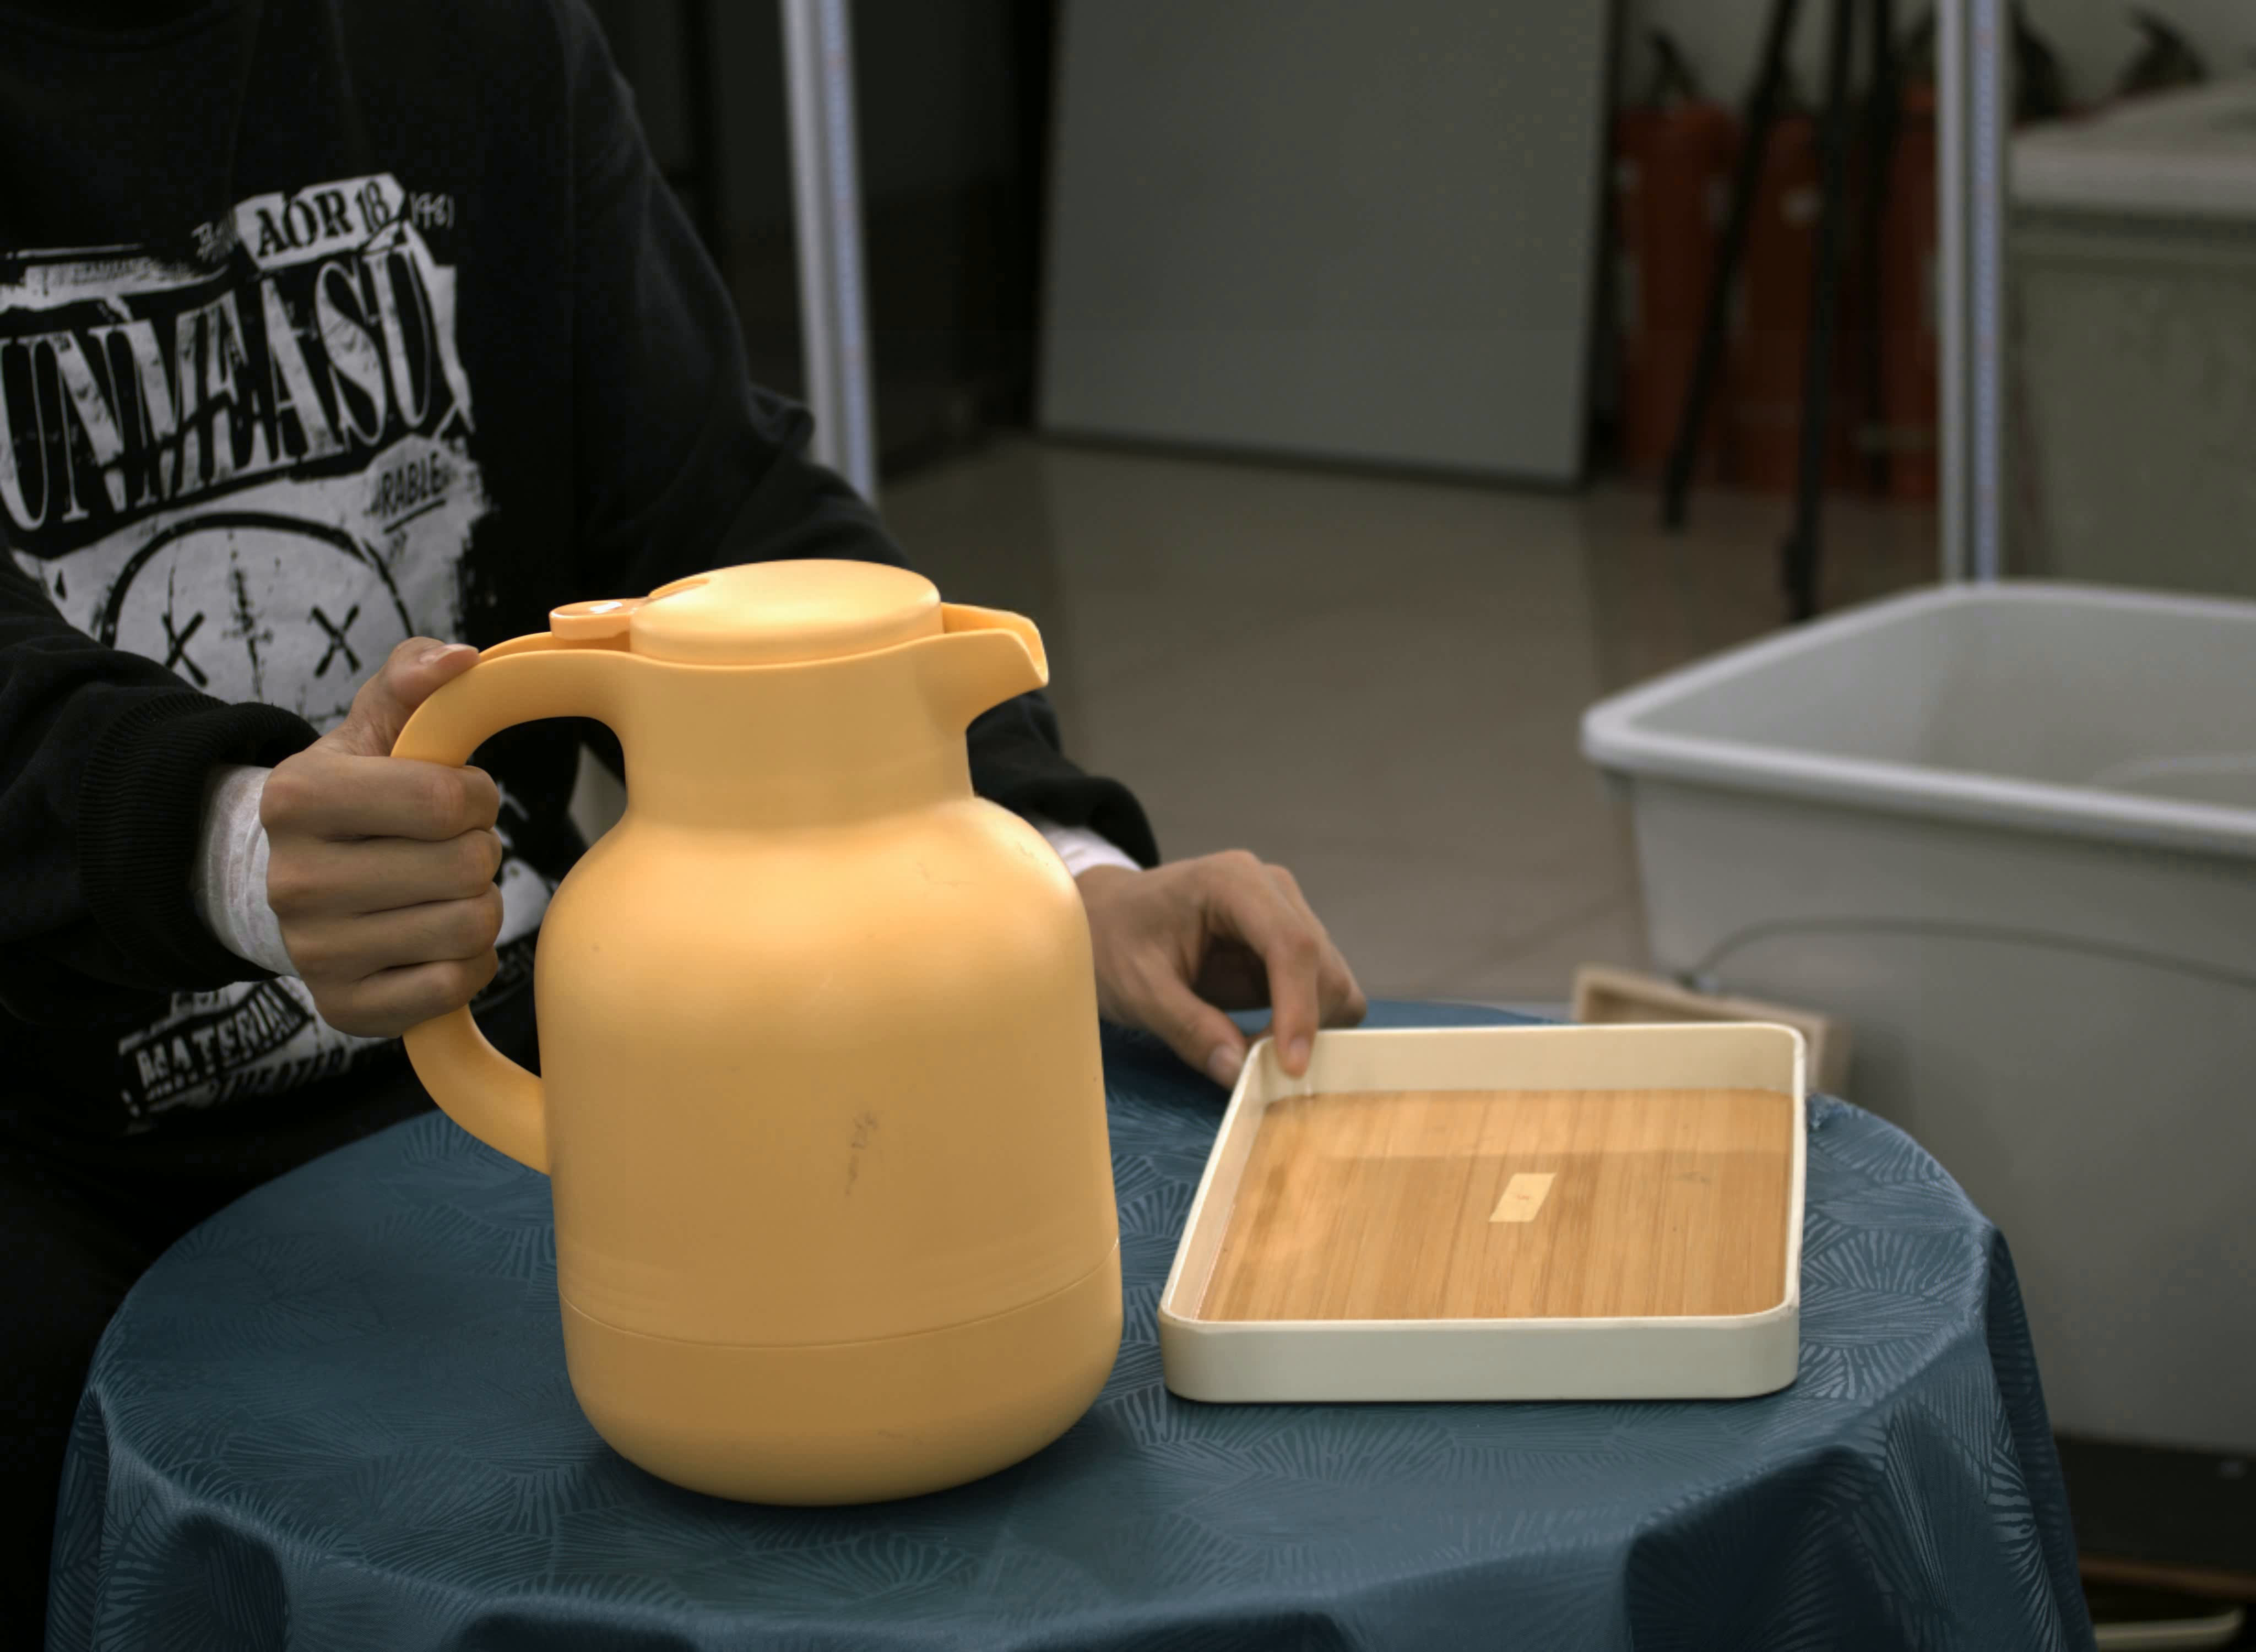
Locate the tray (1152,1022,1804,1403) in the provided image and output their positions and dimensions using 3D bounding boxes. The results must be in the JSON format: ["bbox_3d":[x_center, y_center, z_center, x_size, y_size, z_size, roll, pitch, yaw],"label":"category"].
[{"bbox_3d":[0.118,0.118,1.695,0.190,0.028,0.299,-2,14,9],"label":"tray"}]

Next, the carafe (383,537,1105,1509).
[{"bbox_3d":[-0.109,0.051,1.538,0.201,0.263,0.162,0,12,11],"label":"carafe"}]
